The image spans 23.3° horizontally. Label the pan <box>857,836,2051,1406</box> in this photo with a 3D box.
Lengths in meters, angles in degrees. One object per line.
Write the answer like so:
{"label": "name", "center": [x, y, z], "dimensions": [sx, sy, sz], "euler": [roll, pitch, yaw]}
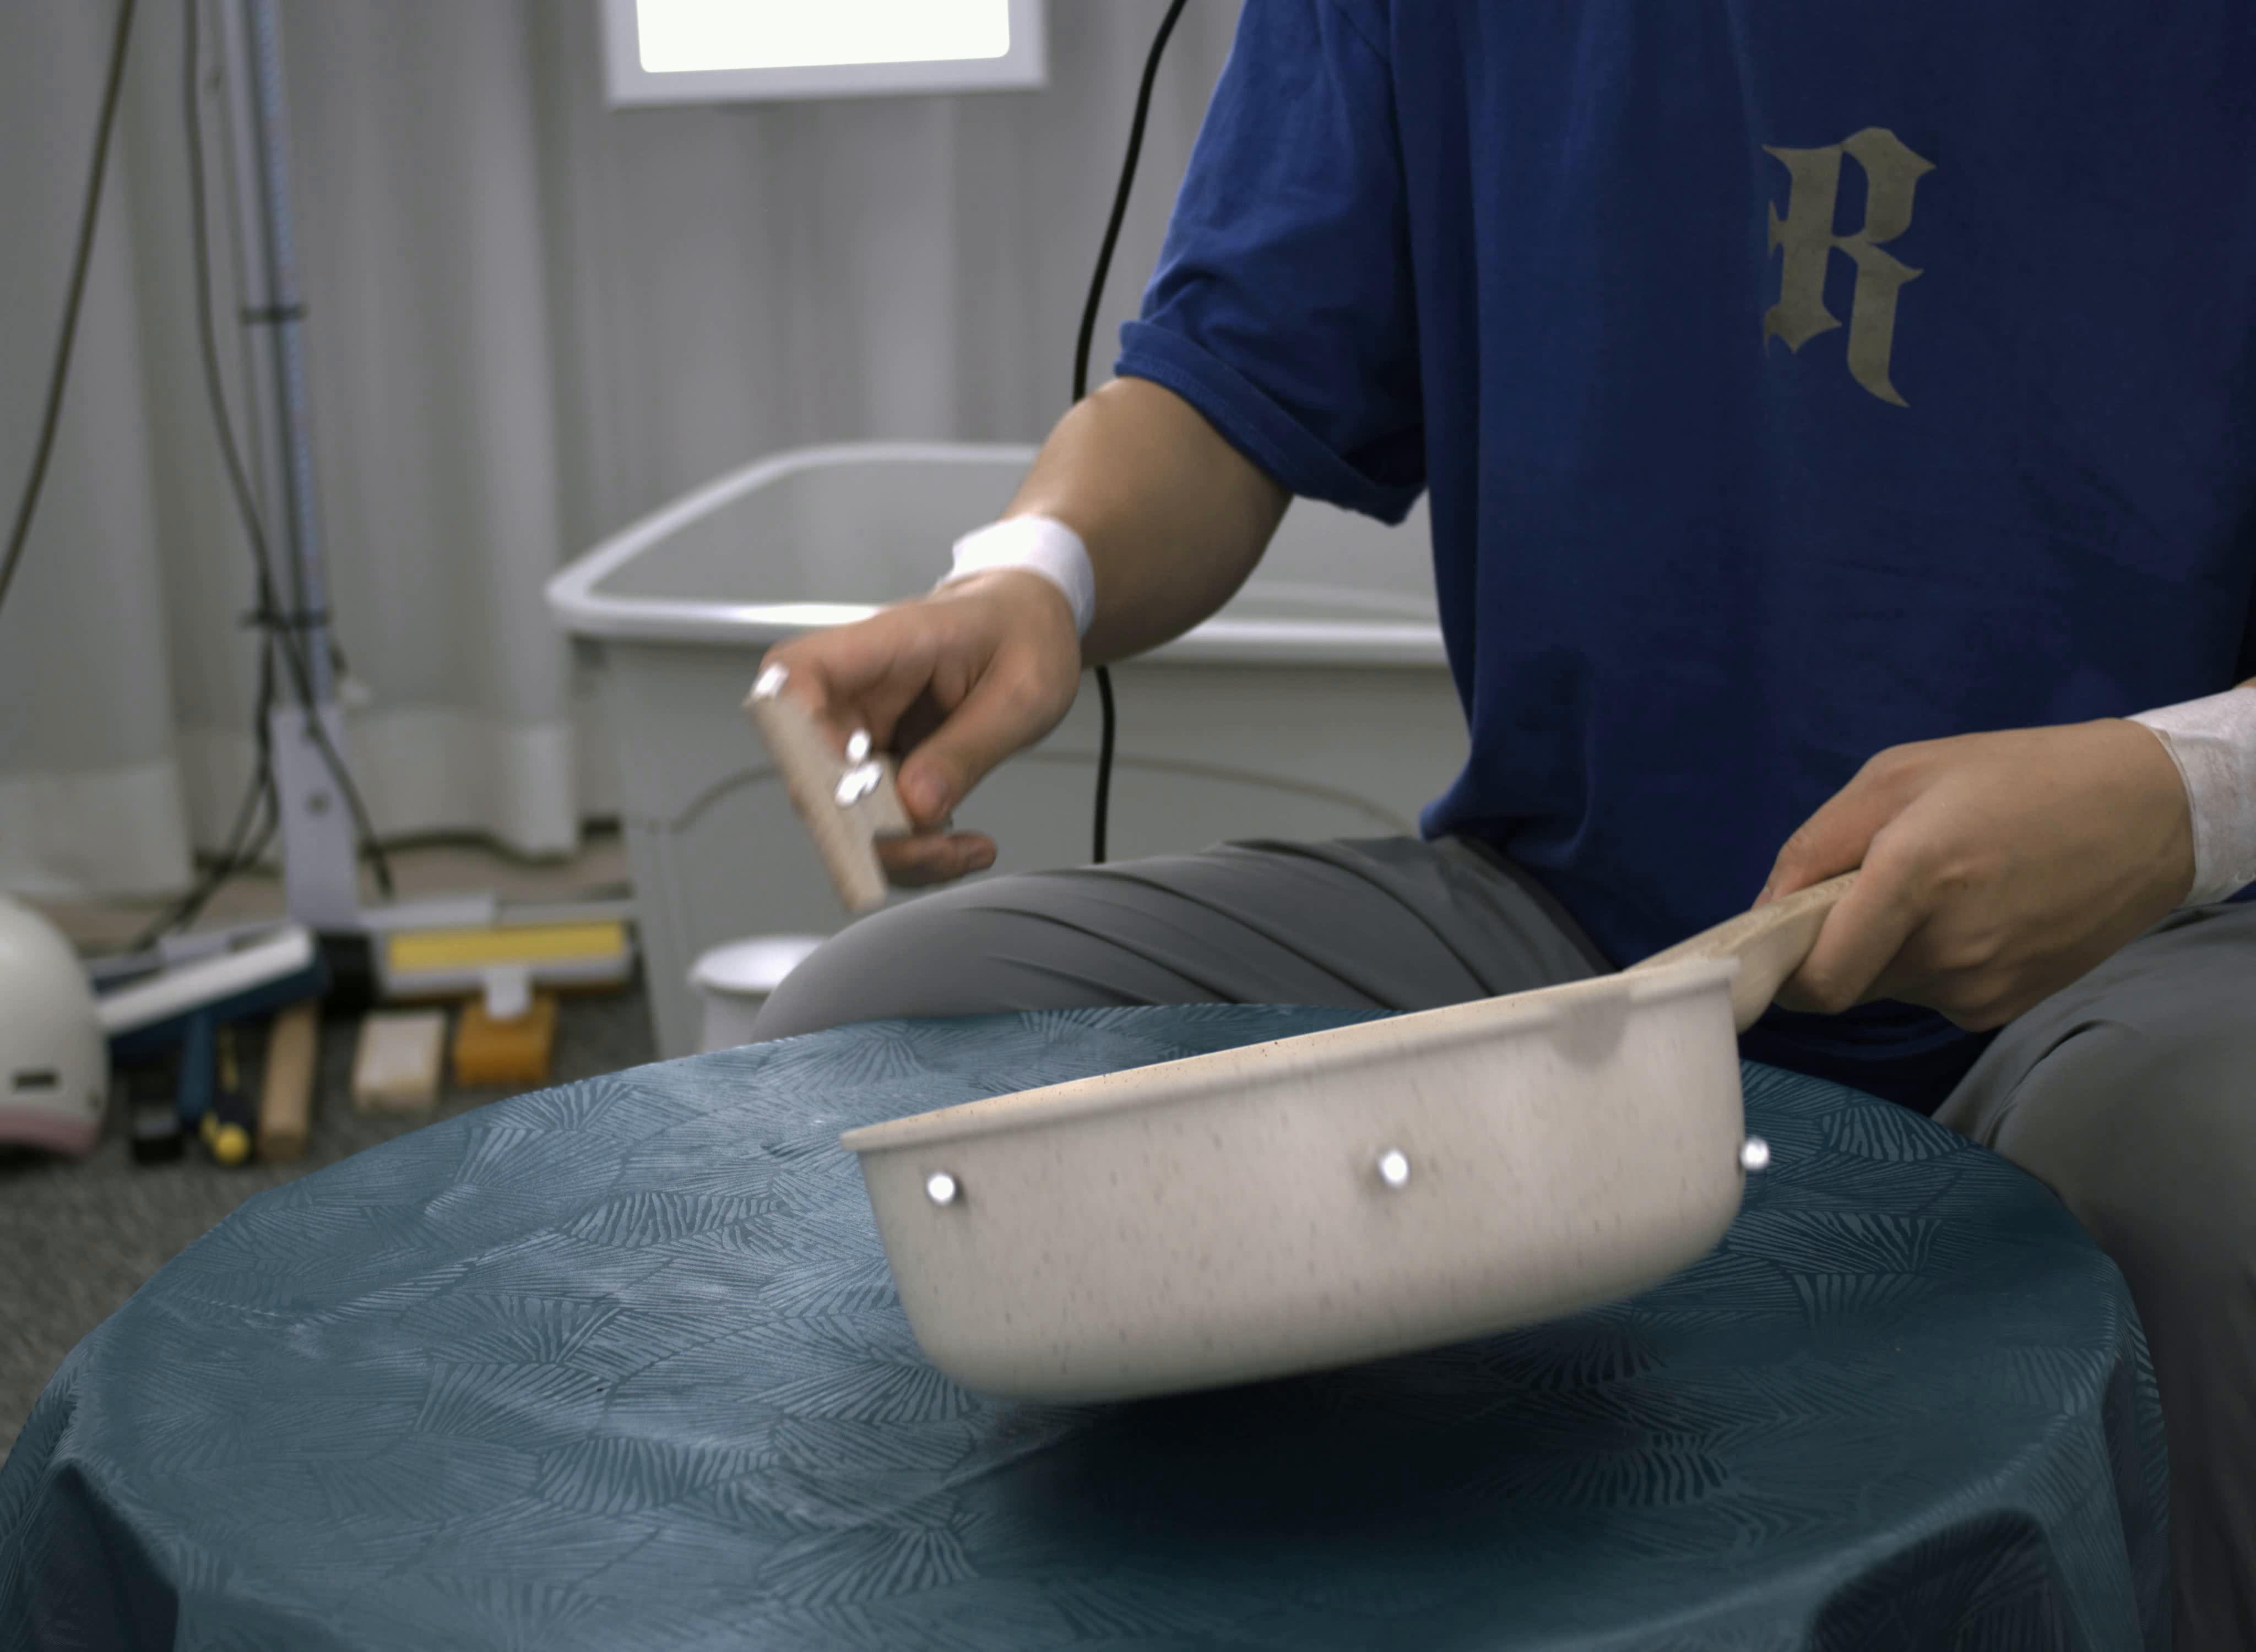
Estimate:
{"label": "pan", "center": [0.124, 0.080, 1.543], "dimensions": [0.433, 0.102, 0.263], "euler": [-10, -4, -40]}

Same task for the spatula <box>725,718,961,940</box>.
{"label": "spatula", "center": [-0.083, -0.003, 1.706], "dimensions": [0.010, 0.072, 0.293], "euler": [-29, -2, 7]}
